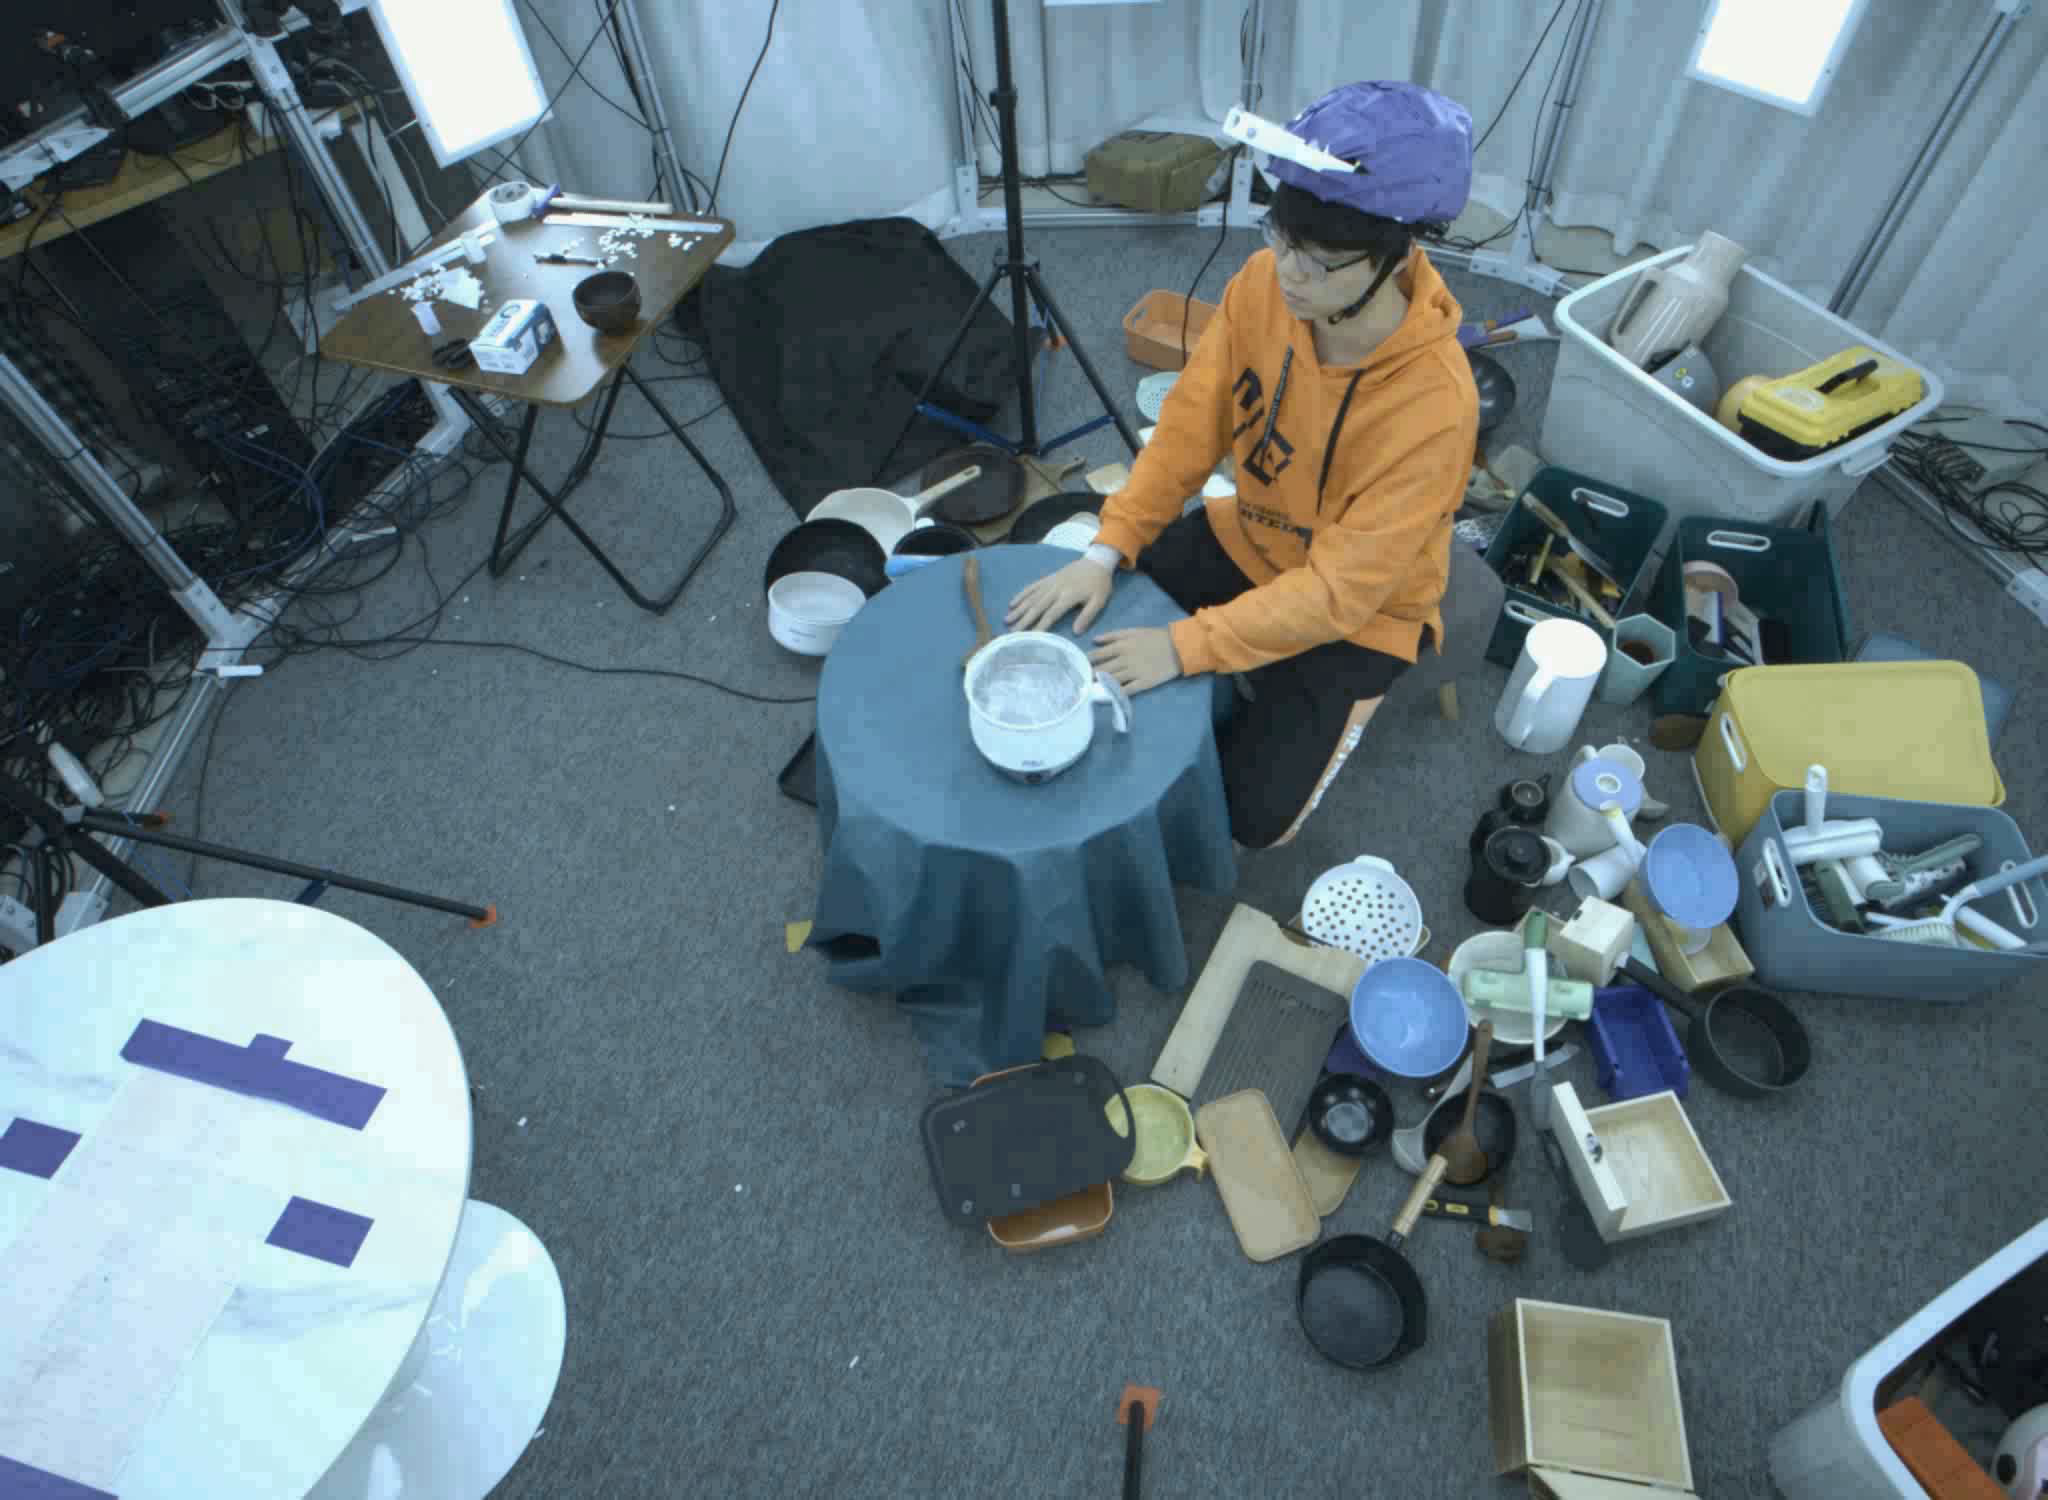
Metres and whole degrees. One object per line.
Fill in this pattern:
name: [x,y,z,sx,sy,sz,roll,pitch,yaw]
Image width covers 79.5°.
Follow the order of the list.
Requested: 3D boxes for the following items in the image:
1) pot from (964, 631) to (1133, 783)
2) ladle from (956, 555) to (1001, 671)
pot: [0.037,-0.062,1.745,0.234,0.138,0.176,-4,55,0]
ladle: [-0.081,-0.224,1.912,0.076,0.066,0.256,-23,54,17]
